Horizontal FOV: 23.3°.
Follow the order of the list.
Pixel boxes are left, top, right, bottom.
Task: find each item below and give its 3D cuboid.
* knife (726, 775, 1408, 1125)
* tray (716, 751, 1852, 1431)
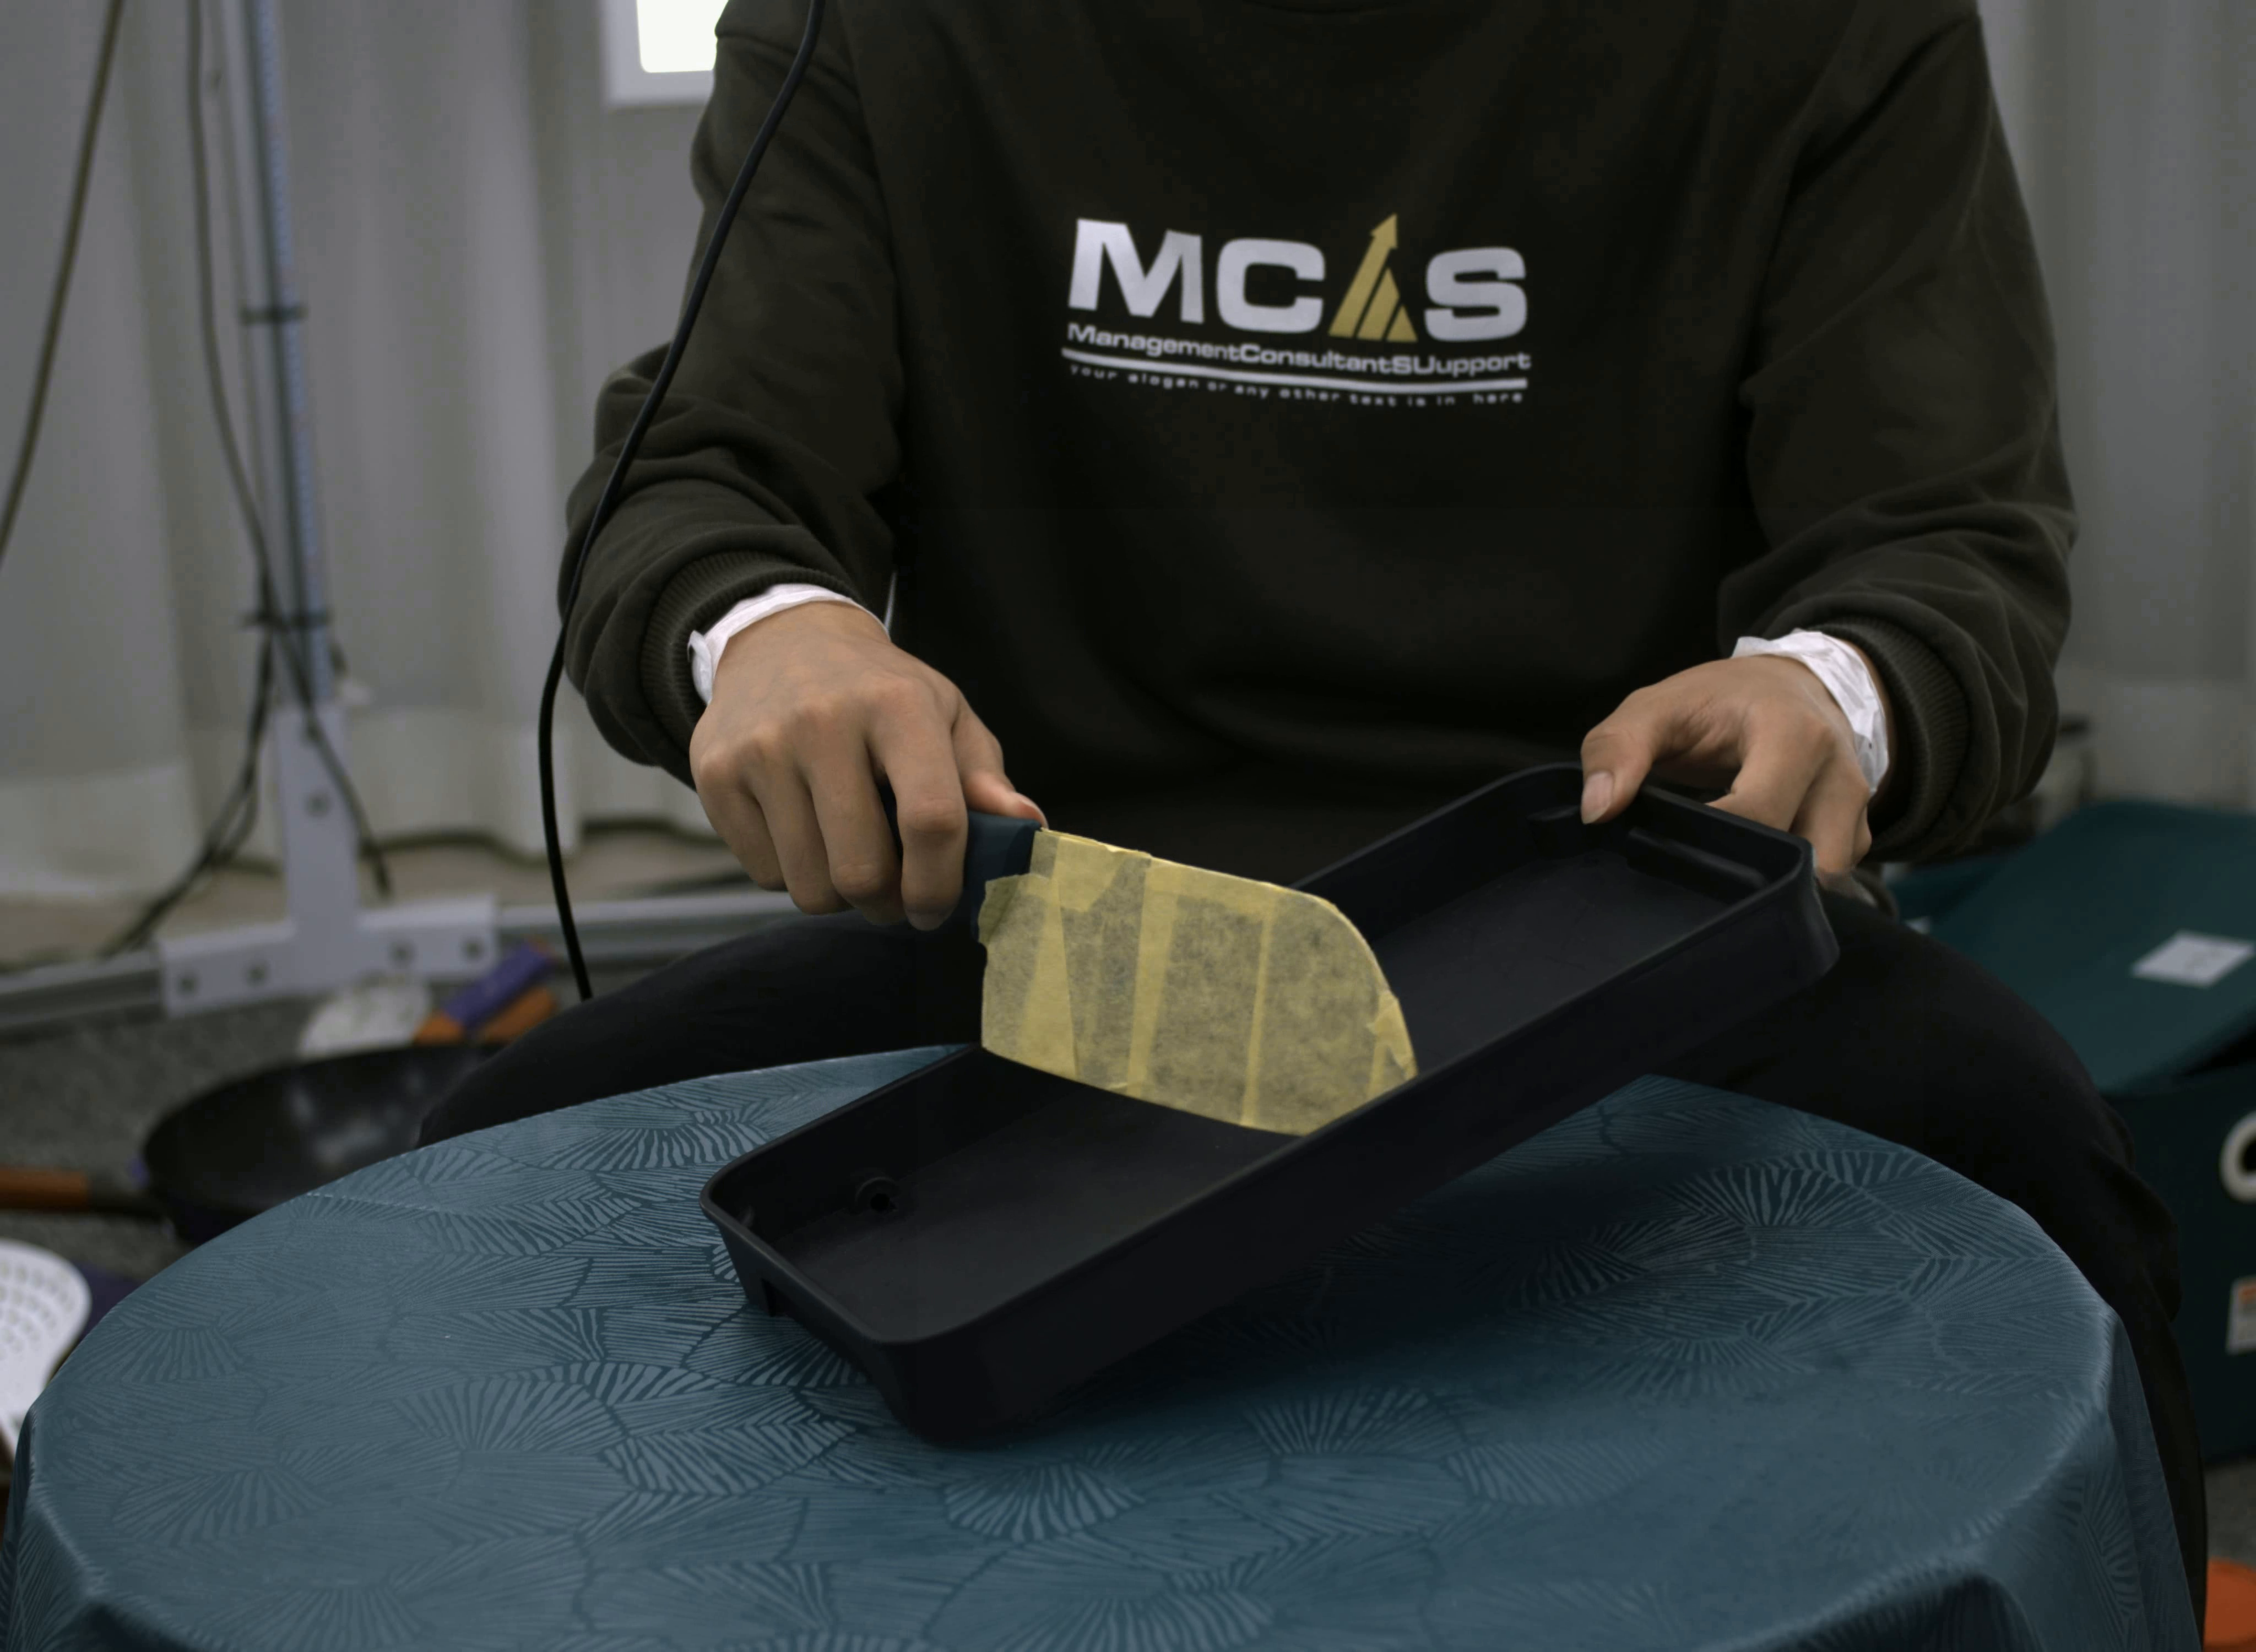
[{"bbox_3d":[-0.022,0.035,1.643,0.291,0.081,0.027,18,10,42],"label":"knife"},{"bbox_3d":[0.046,0.072,1.617,0.318,0.037,0.185,-28,19,-18],"label":"tray"}]
